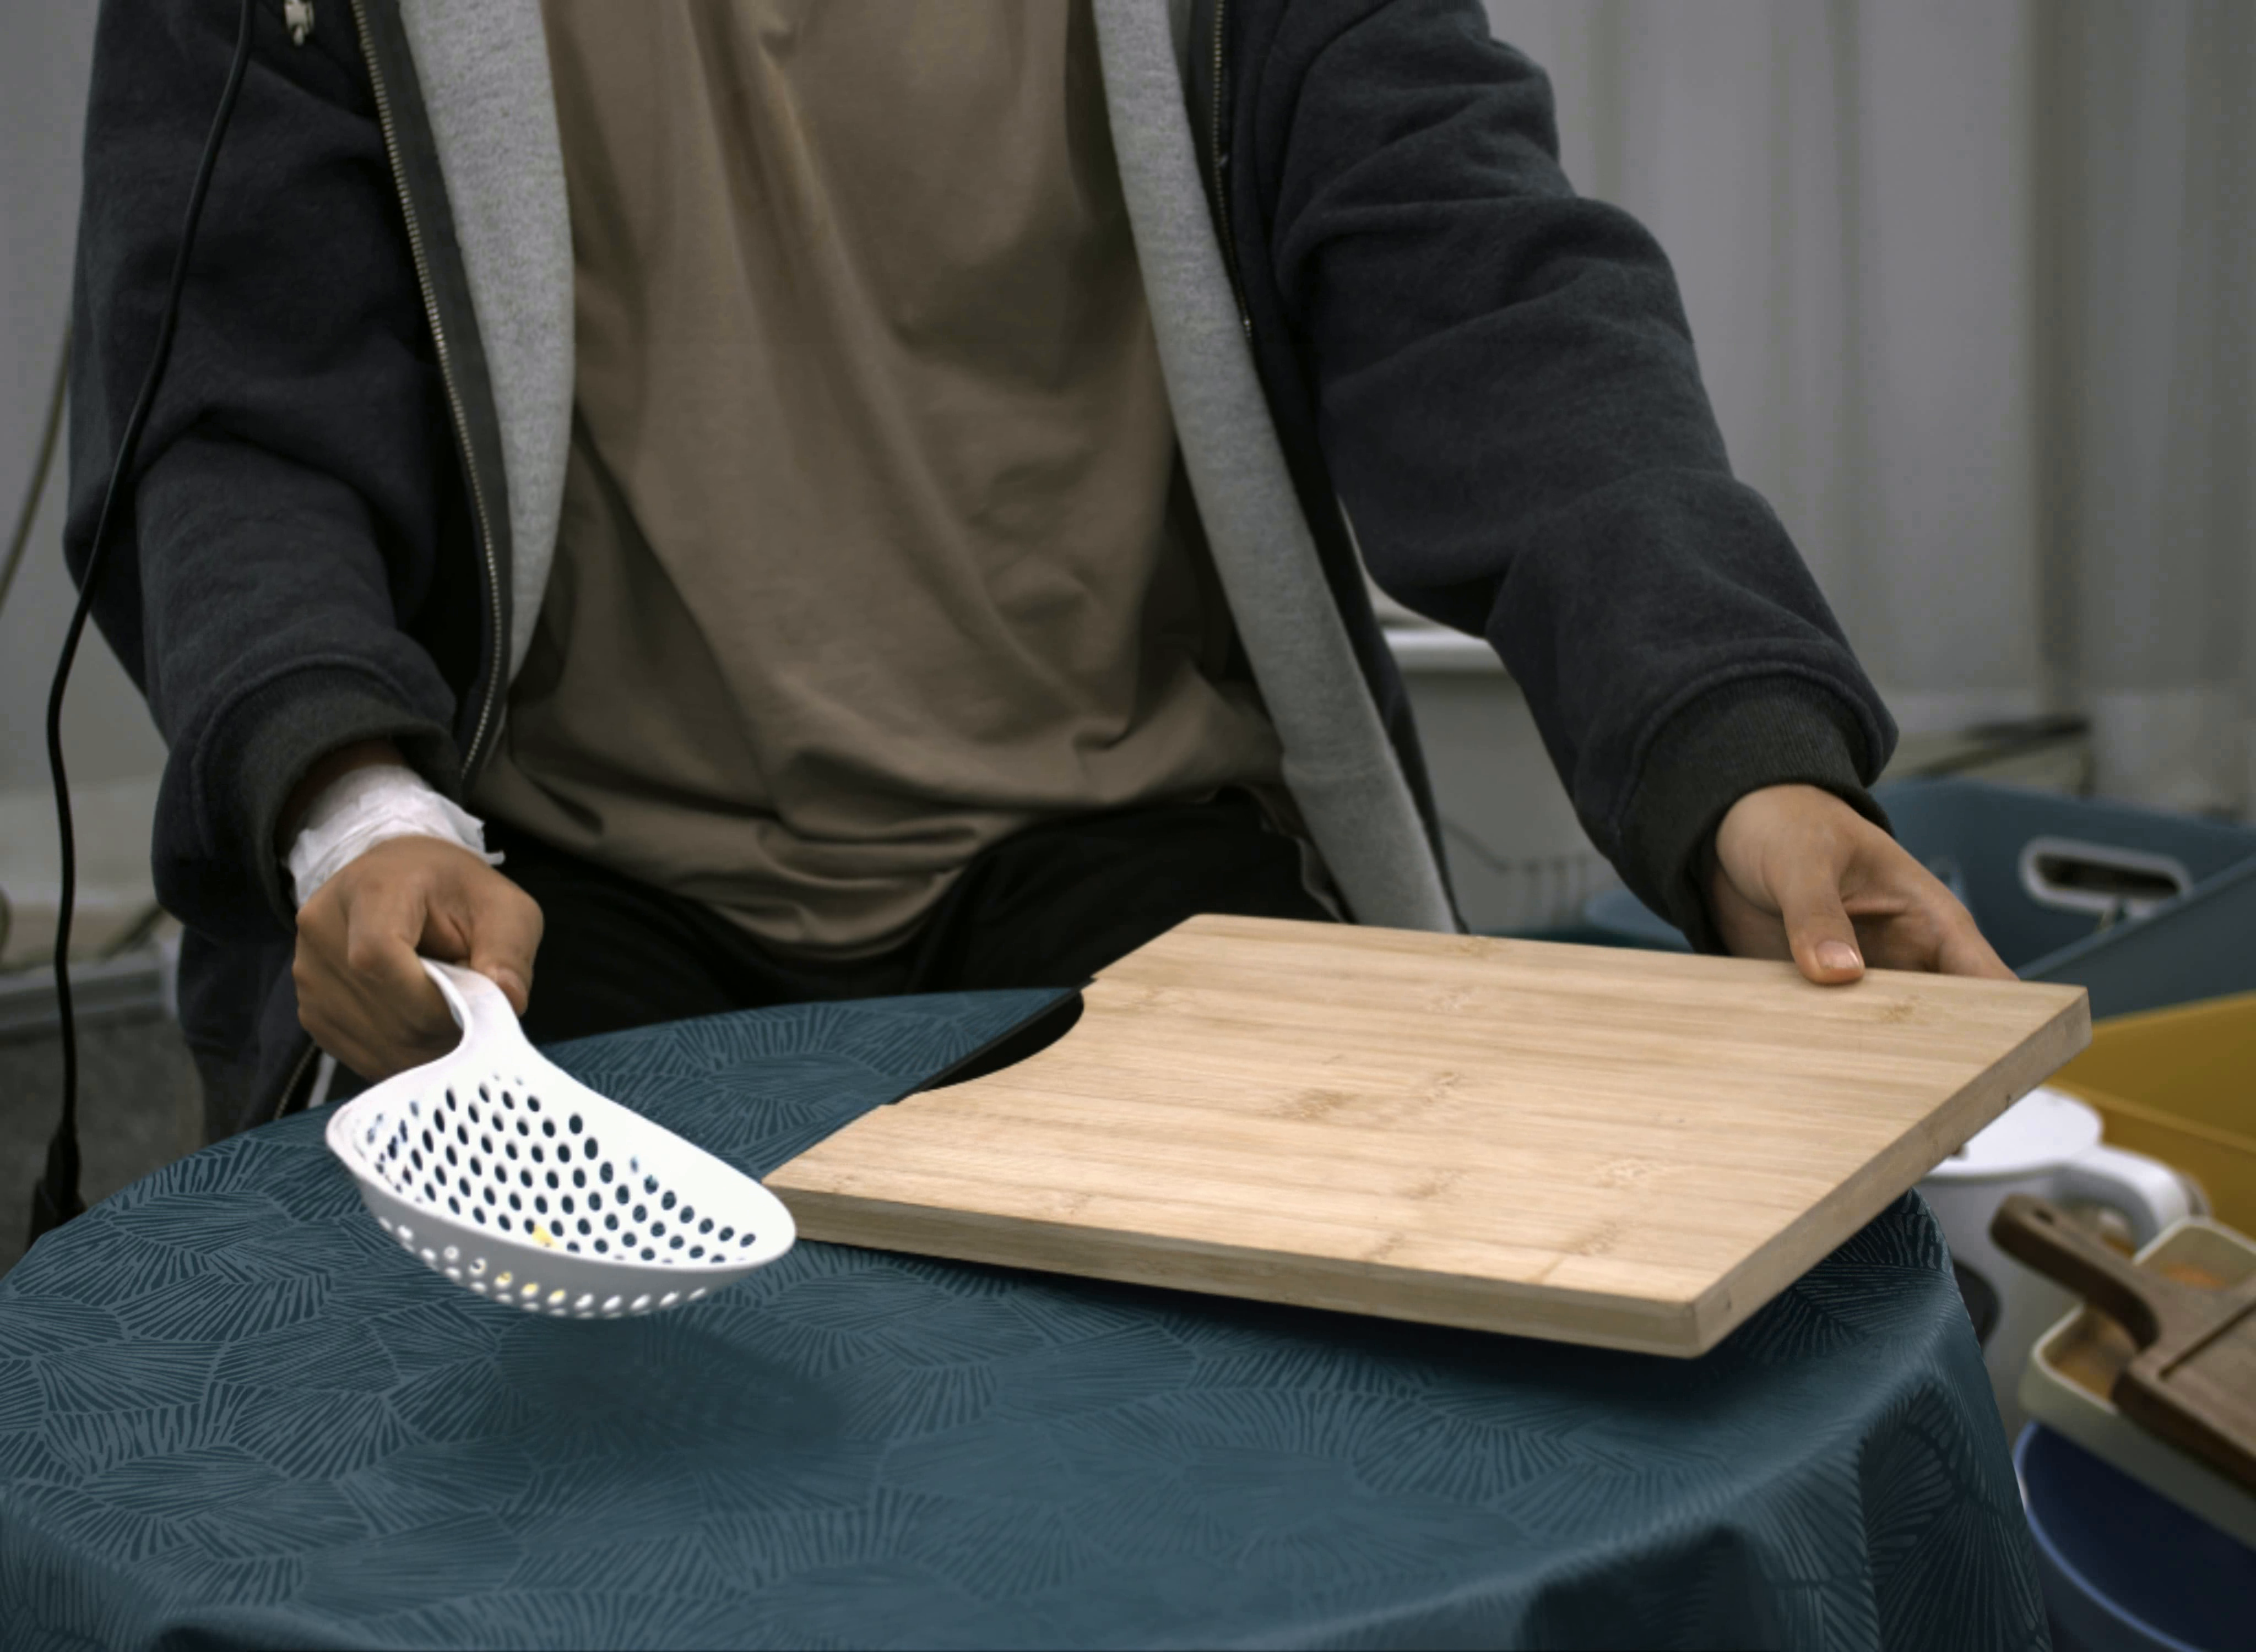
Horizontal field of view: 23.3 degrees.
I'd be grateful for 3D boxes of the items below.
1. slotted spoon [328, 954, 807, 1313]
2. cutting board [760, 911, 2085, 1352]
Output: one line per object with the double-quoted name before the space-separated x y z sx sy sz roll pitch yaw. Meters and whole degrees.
"slotted spoon" -0.191 0.080 1.648 0.136 0.050 0.351 9 15 -18
"cutting board" 0.086 0.087 1.681 0.349 0.023 0.251 3 22 37
